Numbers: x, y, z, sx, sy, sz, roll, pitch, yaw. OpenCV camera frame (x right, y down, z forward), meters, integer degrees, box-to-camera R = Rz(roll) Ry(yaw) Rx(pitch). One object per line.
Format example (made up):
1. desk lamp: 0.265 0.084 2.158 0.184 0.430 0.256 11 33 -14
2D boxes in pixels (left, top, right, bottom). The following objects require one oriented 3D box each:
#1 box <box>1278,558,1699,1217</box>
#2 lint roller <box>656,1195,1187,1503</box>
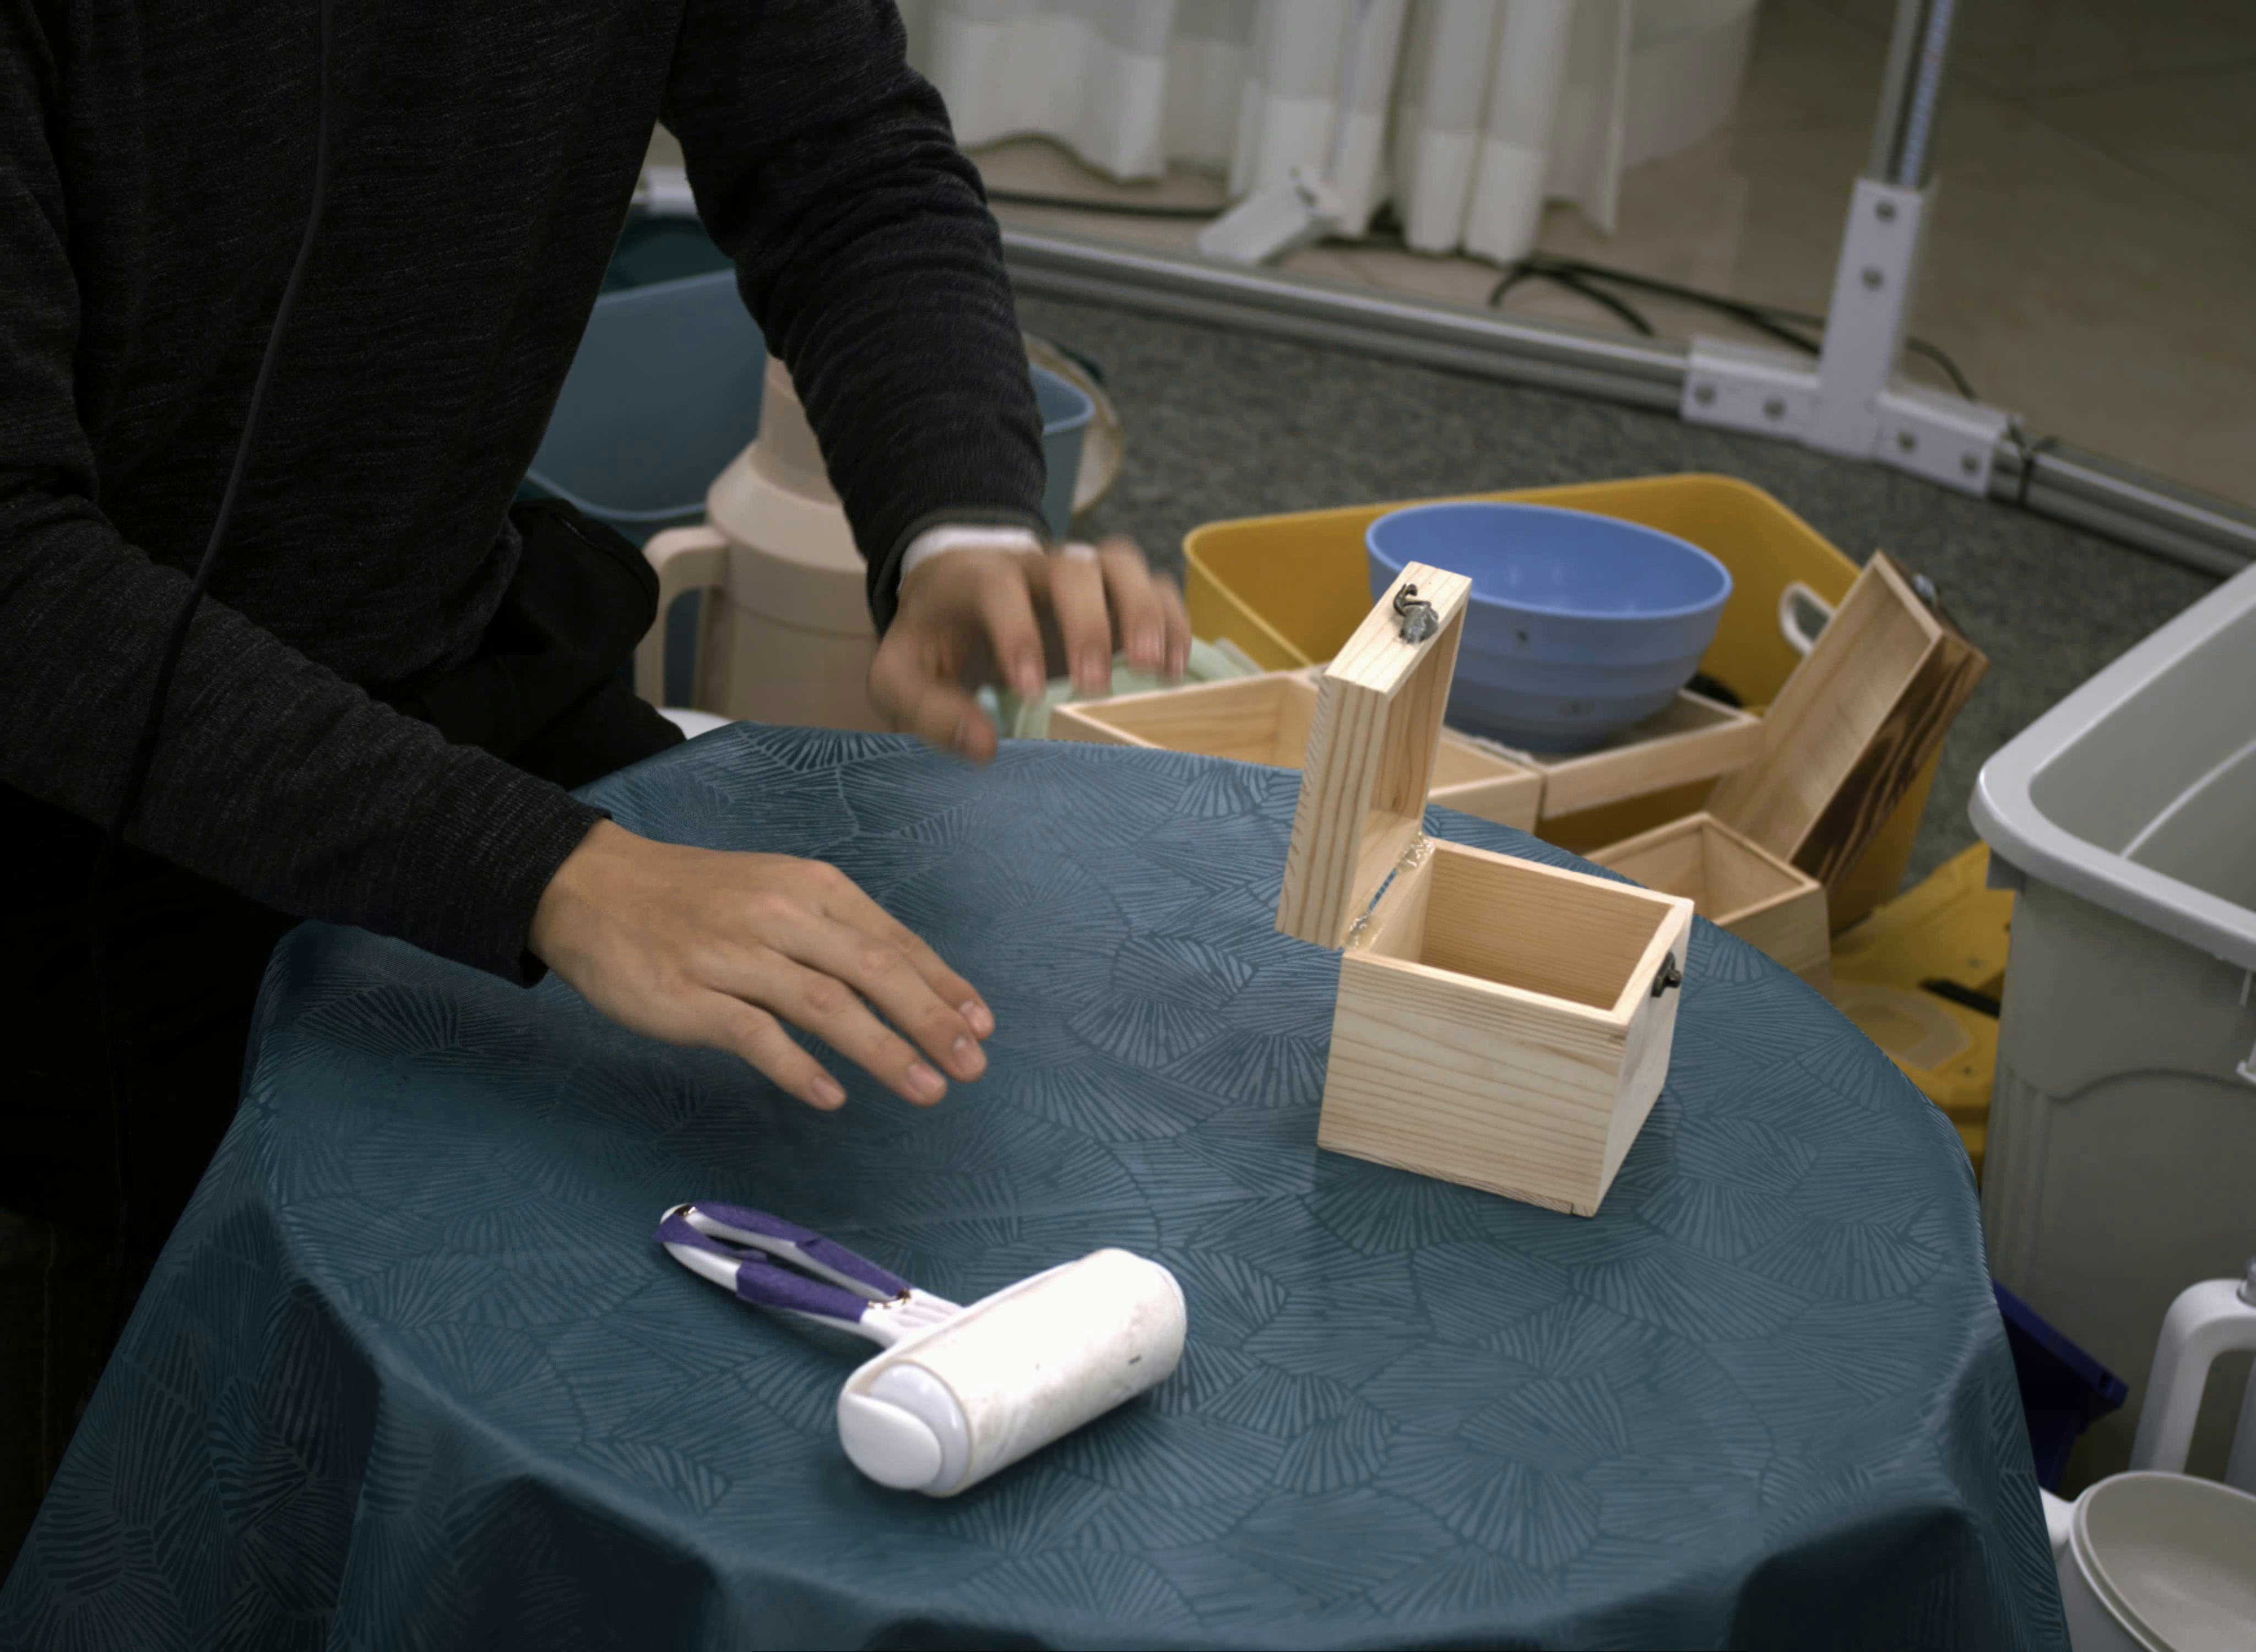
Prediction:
1. box: 0.130 0.020 1.833 0.134 0.184 0.103 14 27 15
2. lint roller: -0.080 0.145 1.691 0.182 0.050 0.132 30 36 34
